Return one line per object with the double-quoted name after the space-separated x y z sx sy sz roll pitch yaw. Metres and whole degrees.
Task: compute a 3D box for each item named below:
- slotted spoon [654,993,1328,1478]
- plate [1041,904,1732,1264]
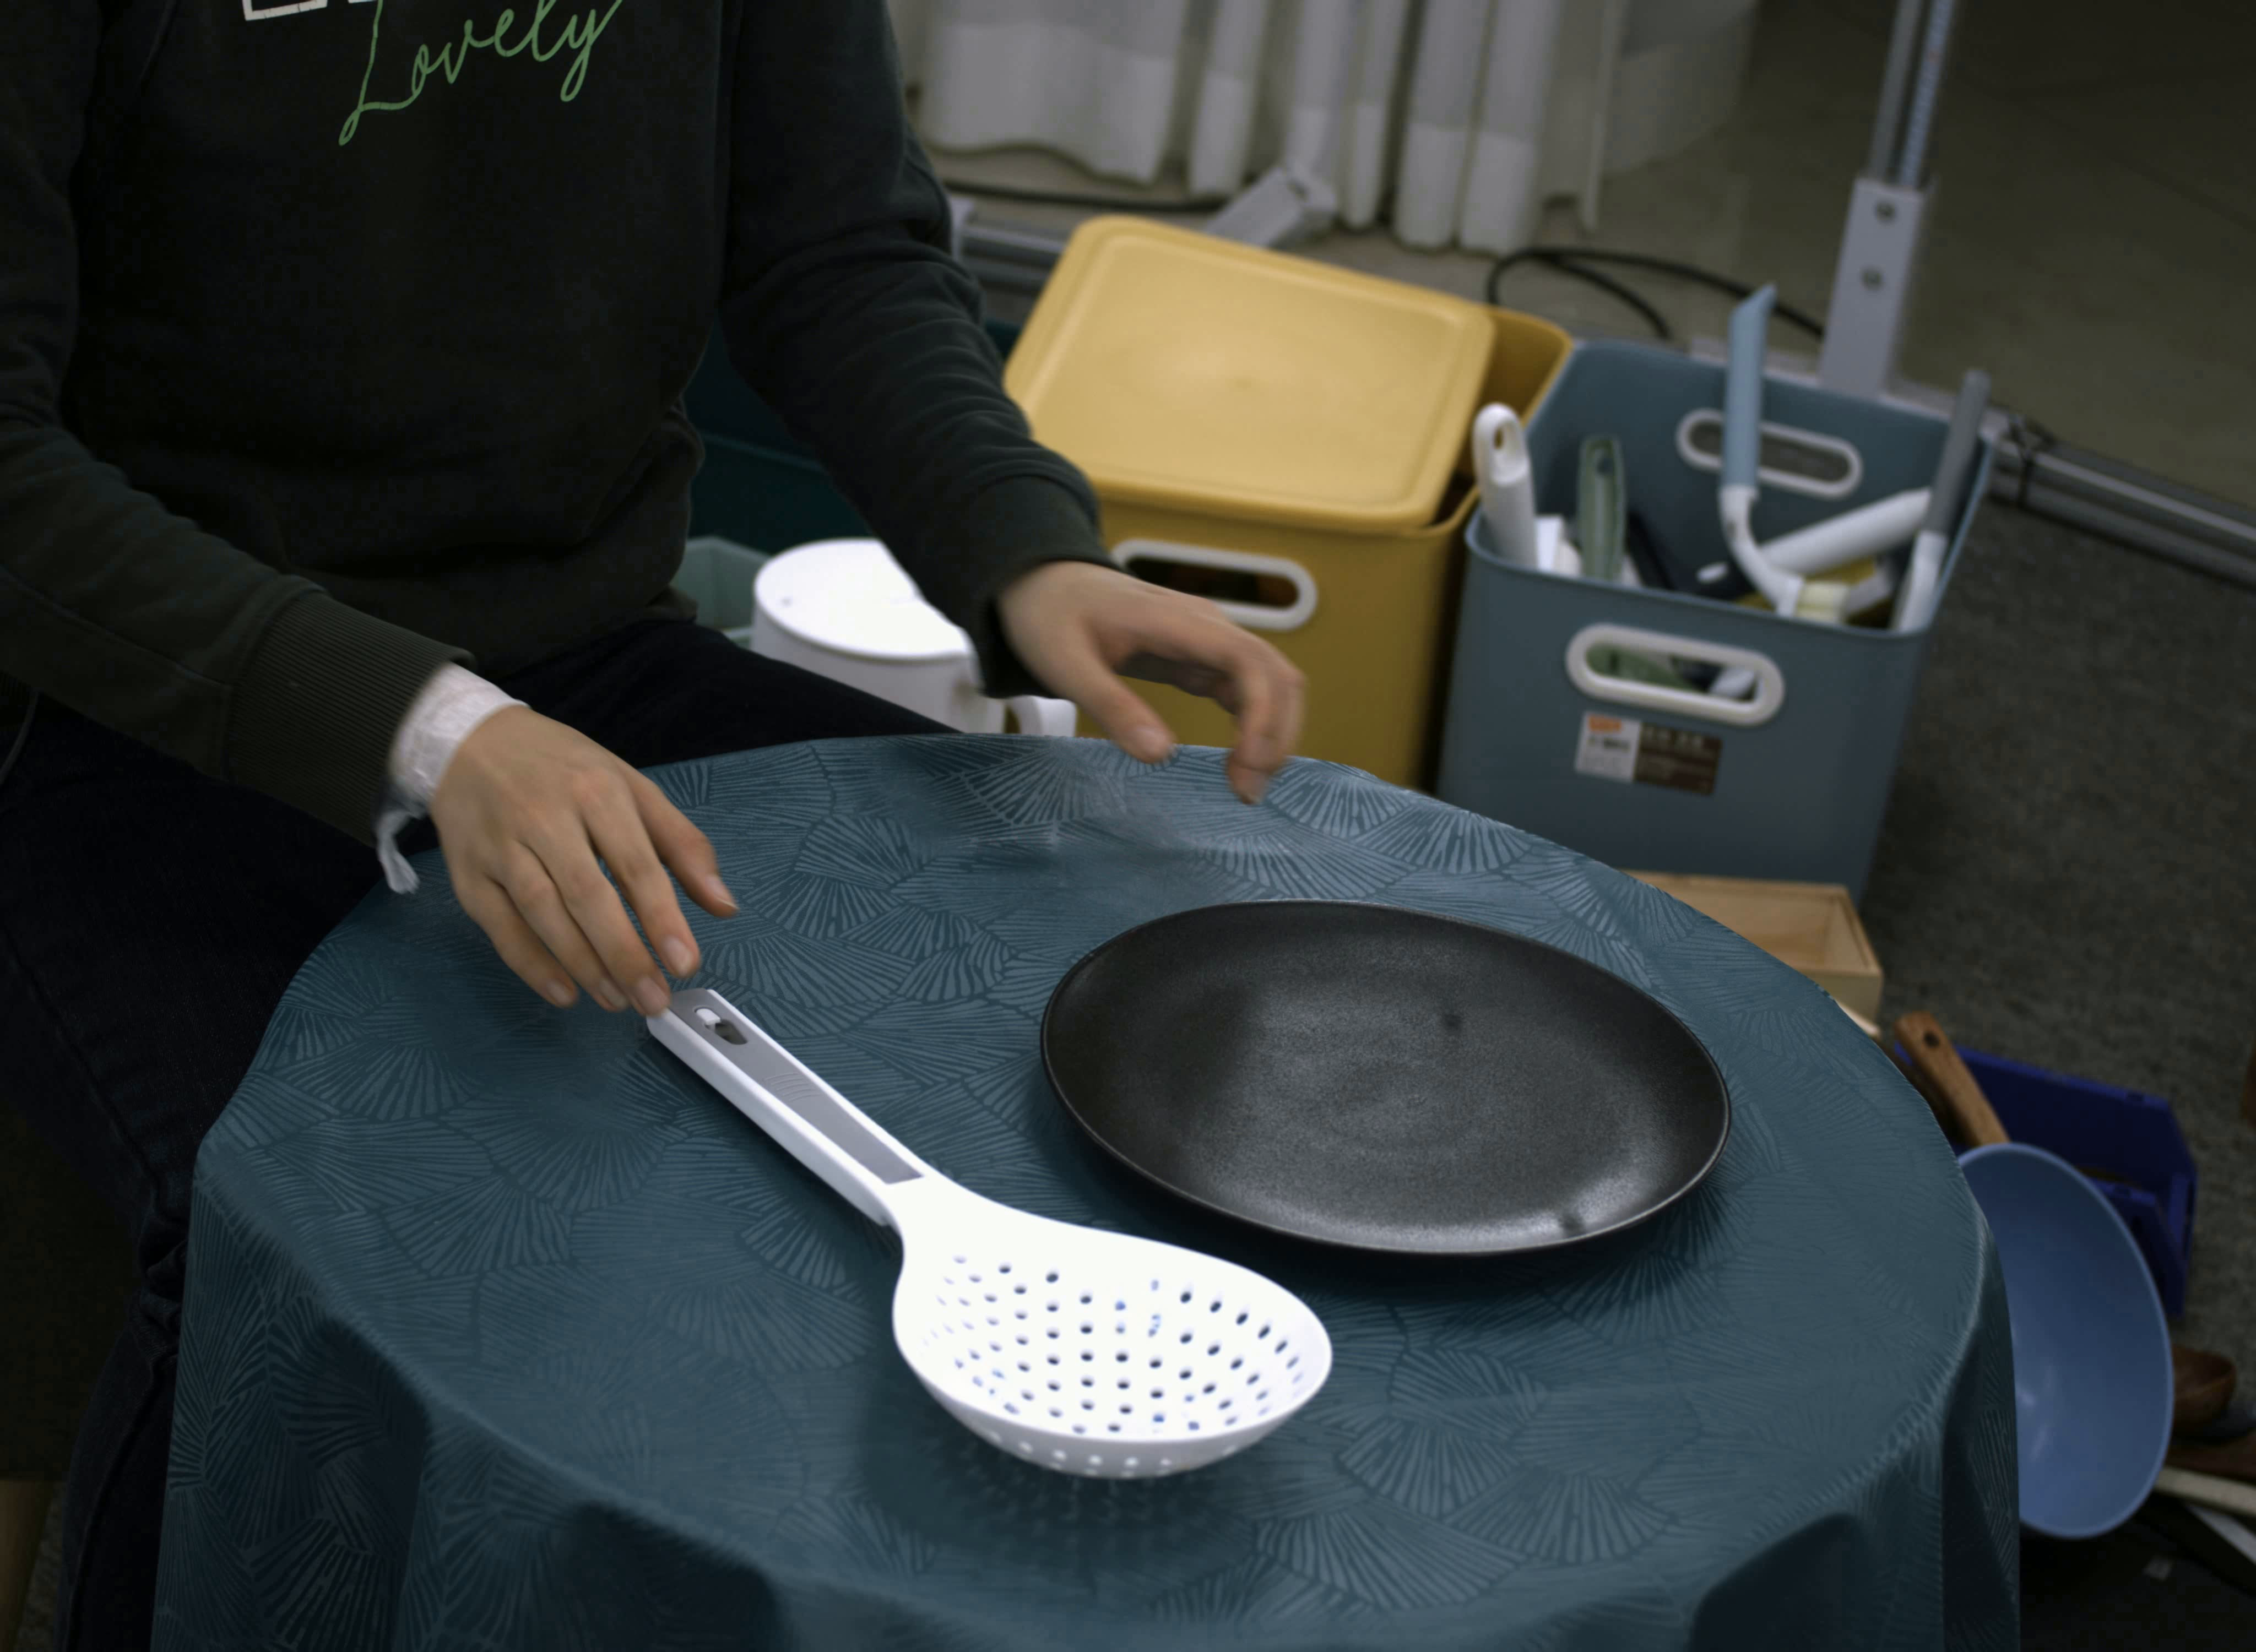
-0.064 0.127 1.730 0.135 0.045 0.353 -8 29 -32 "slotted spoon"
0.089 0.093 1.855 0.243 0.023 0.246 5 27 -3 "plate"
